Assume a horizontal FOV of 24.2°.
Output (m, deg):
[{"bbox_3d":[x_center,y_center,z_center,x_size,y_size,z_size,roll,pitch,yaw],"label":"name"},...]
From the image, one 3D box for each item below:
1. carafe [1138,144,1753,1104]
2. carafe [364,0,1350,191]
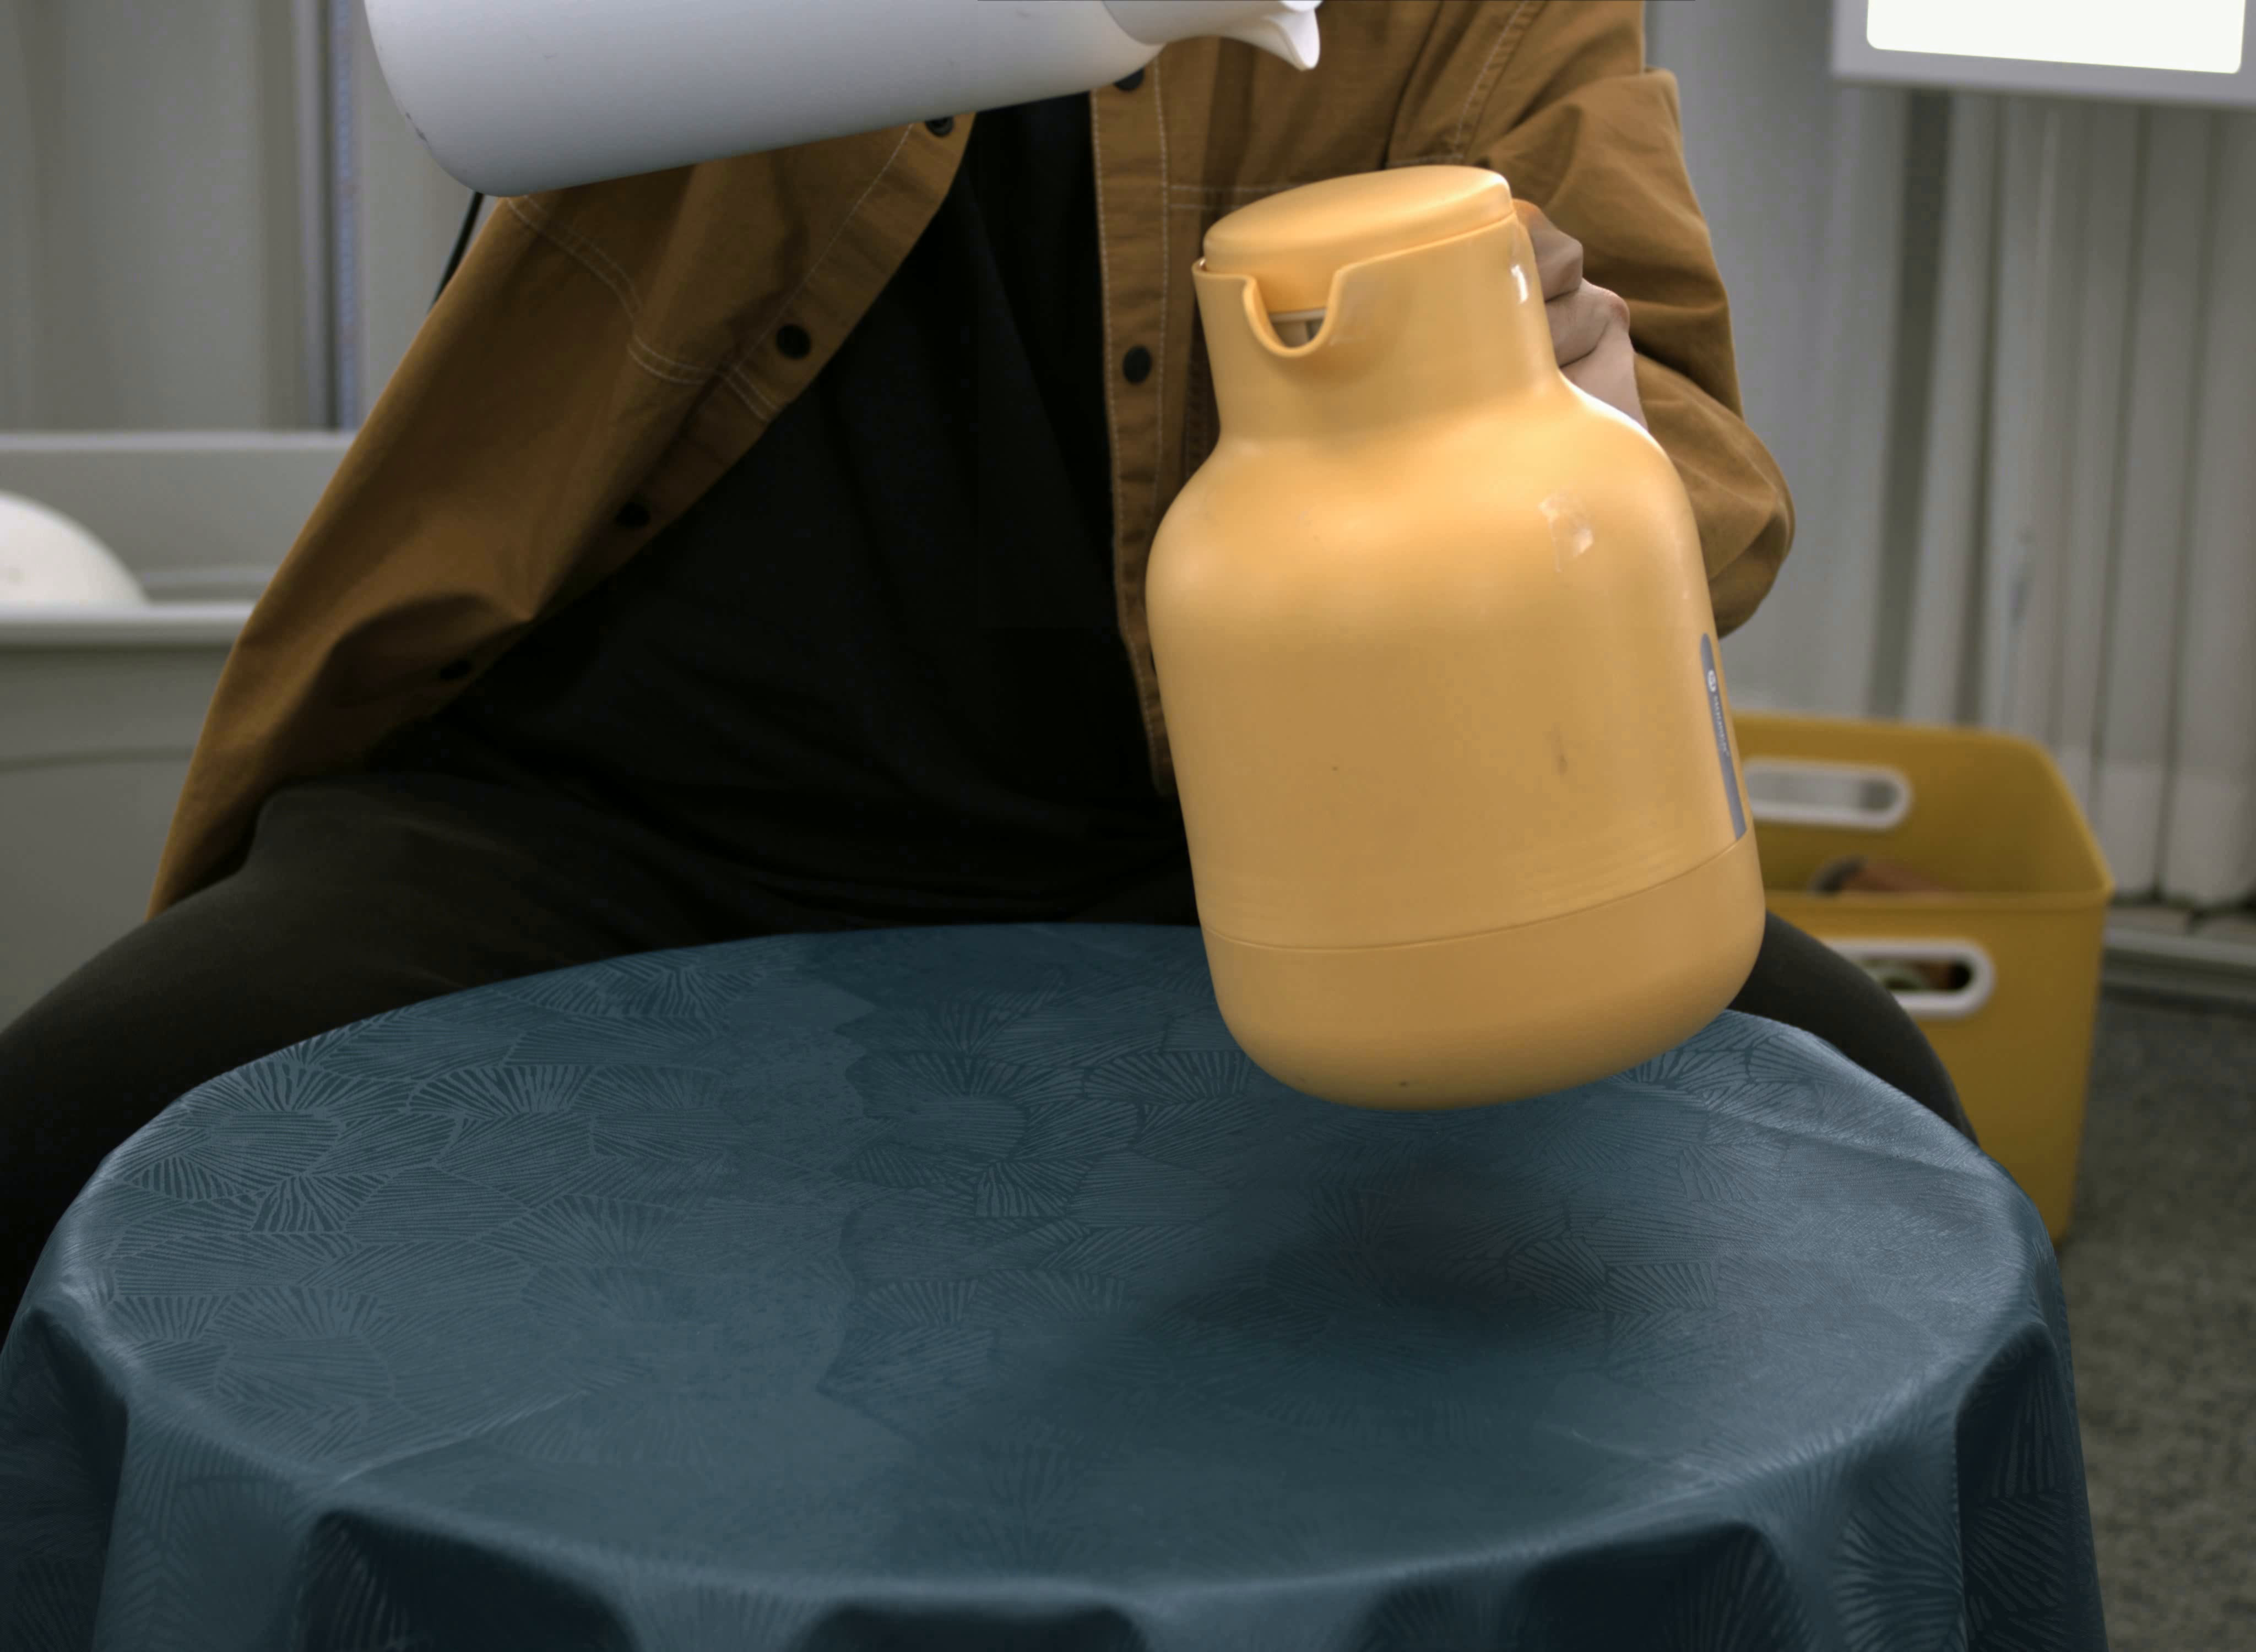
[{"bbox_3d":[0.093,-0.067,1.523,0.162,0.263,0.202,-2,18,22],"label":"carafe"},{"bbox_3d":[-0.085,-0.273,1.484,0.266,0.175,0.123,-7,32,24],"label":"carafe"}]
